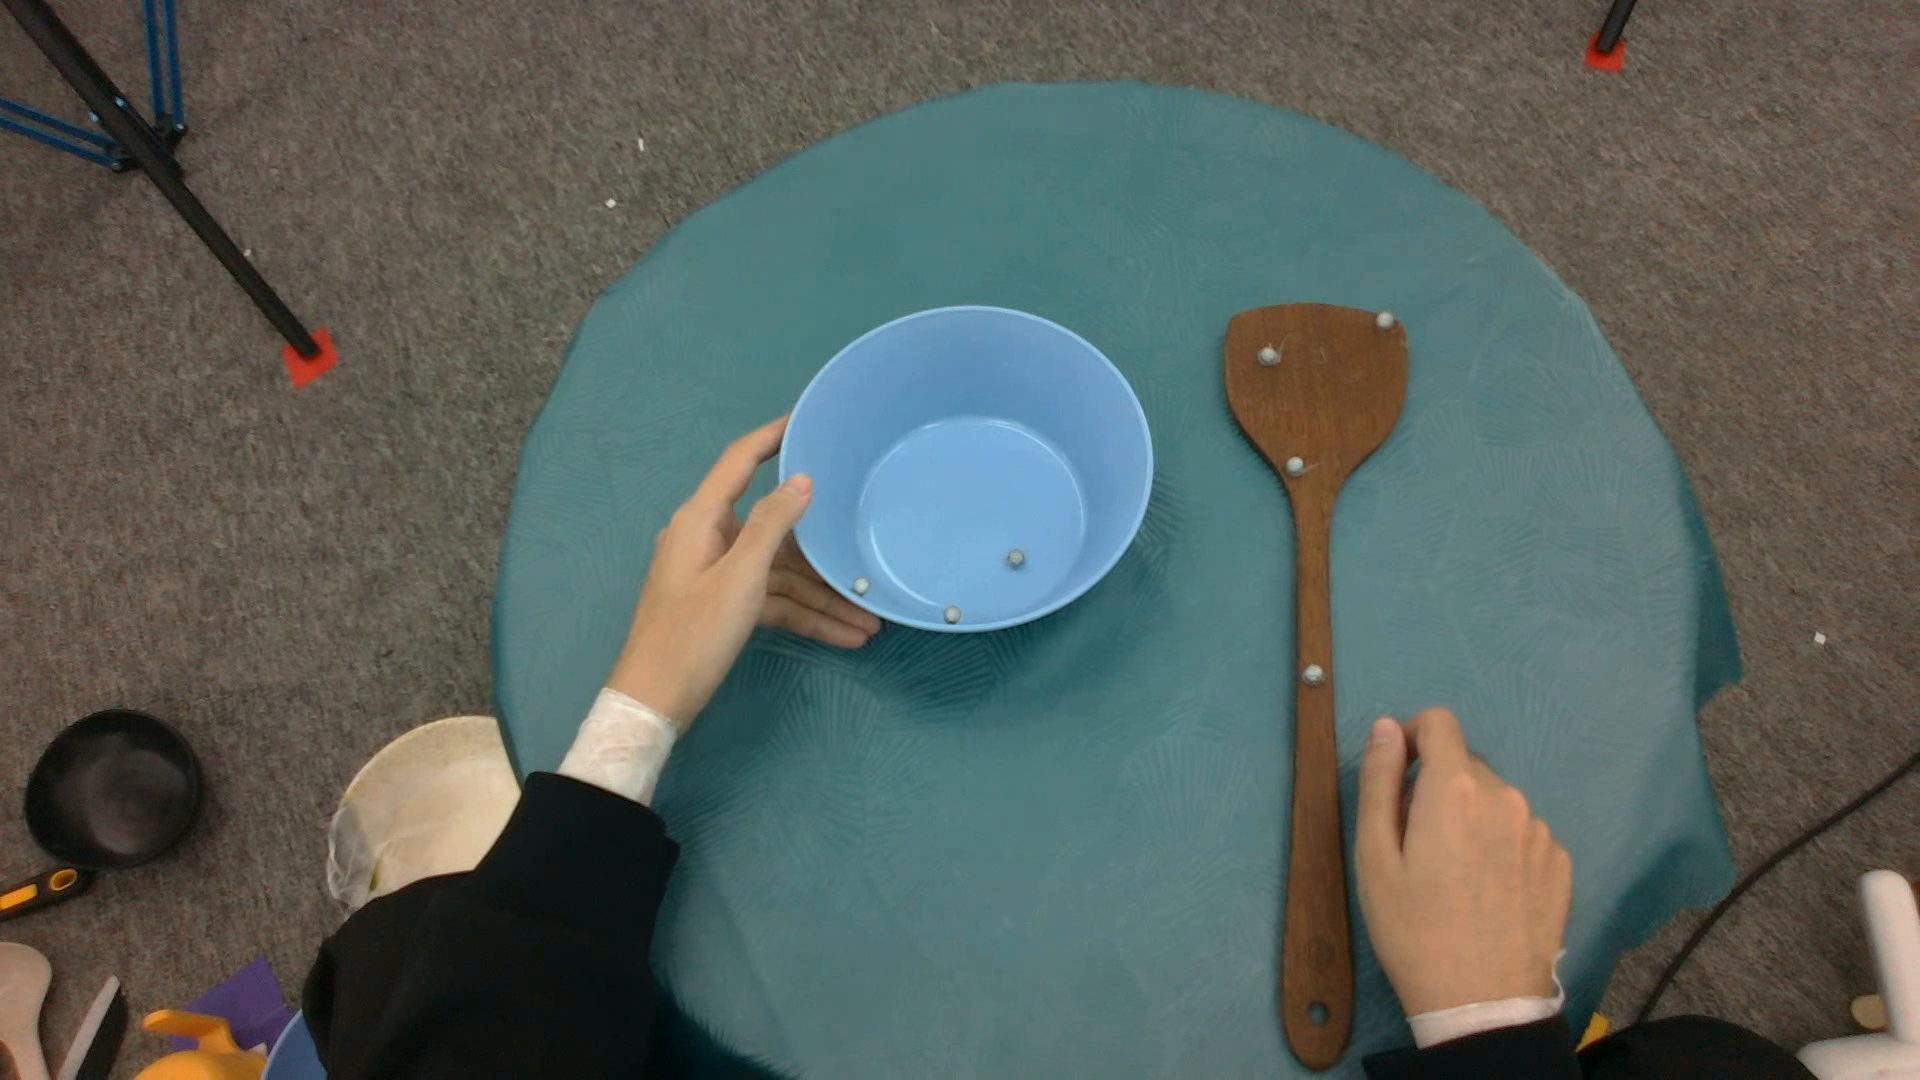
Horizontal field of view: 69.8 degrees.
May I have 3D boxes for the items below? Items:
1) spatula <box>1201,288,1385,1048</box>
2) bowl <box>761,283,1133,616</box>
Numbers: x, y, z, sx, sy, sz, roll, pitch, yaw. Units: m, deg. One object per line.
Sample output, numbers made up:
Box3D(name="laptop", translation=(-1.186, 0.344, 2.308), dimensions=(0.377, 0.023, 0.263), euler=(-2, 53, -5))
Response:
Box3D(name="spatula", translation=(0.161, 0.039, 0.662), dimensions=(0.096, 0.016, 0.387), euler=(4, 64, 5))
Box3D(name="bowl", translation=(-0.005, -0.035, 0.674), dimensions=(0.176, 0.070, 0.176), euler=(-1, 65, 3))
